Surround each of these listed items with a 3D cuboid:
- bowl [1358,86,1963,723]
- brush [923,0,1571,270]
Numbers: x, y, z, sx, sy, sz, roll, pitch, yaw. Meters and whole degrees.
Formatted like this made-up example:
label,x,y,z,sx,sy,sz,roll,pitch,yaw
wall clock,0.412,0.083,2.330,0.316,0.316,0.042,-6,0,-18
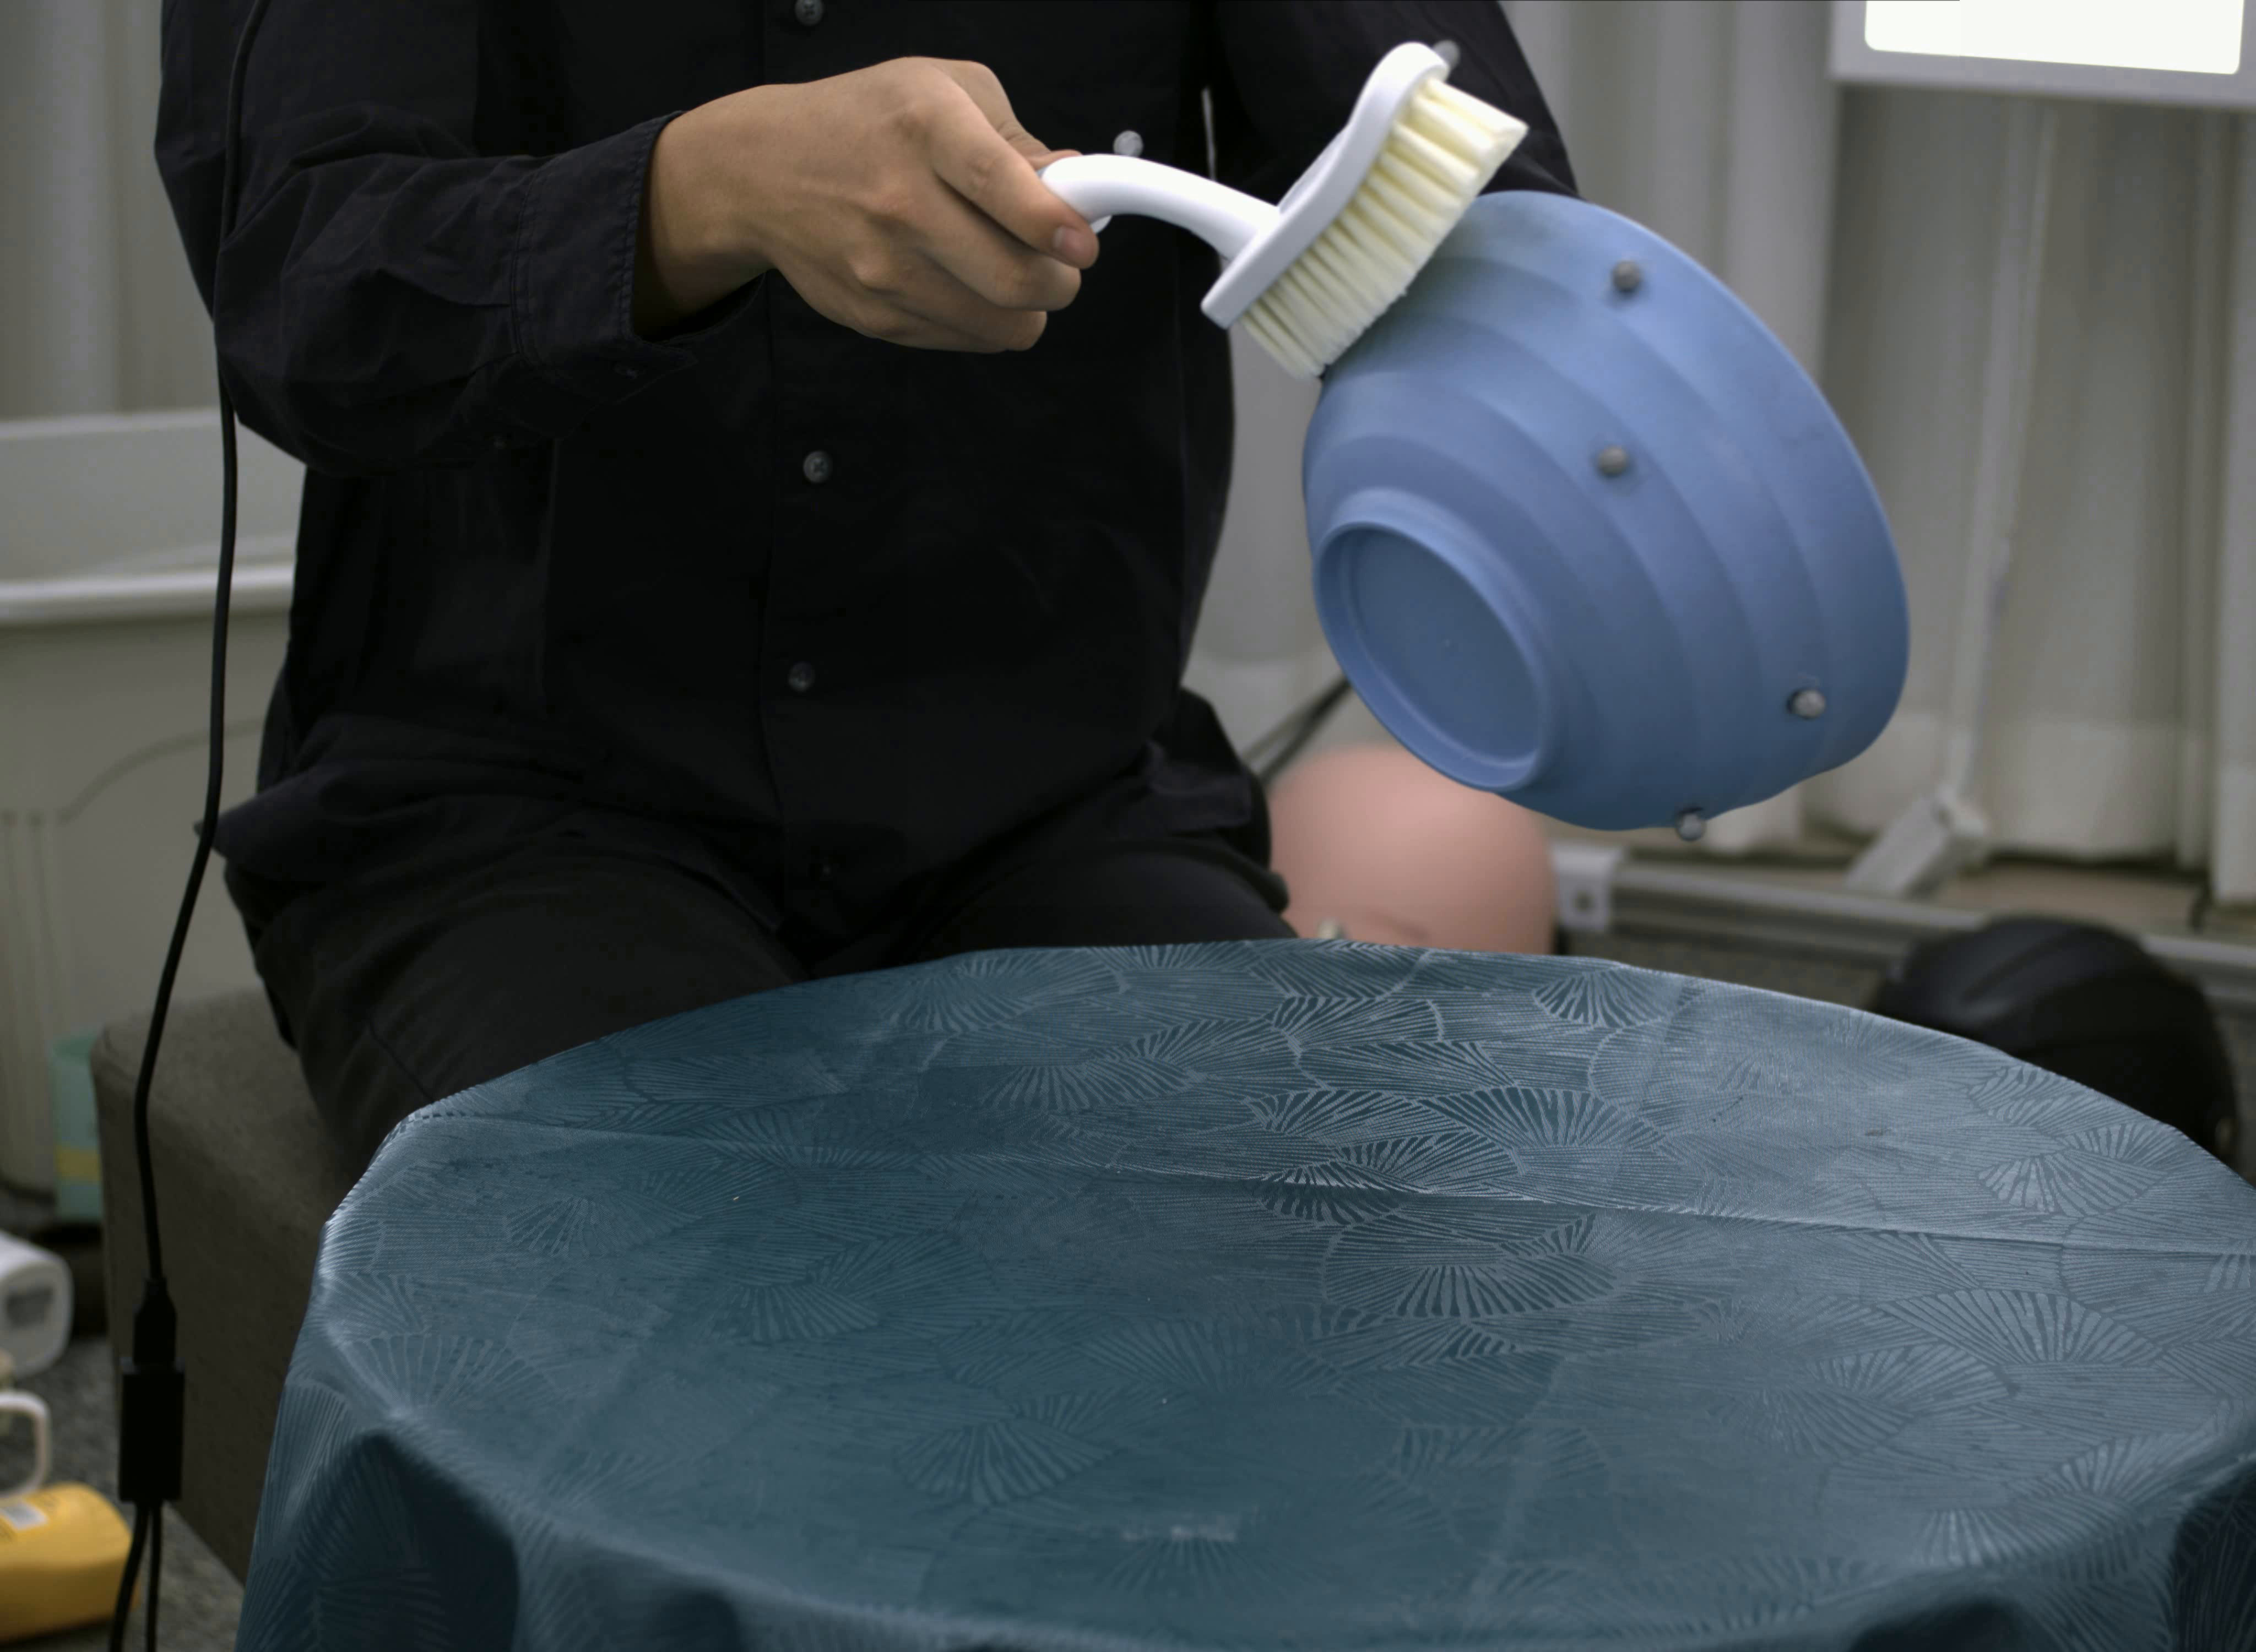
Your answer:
label,x,y,z,sx,sy,sz,roll,pitch,yaw
bowl,0.135,-0.105,1.522,0.095,0.199,0.194,-38,35,-27
brush,0.042,-0.199,1.582,0.083,0.085,0.323,-15,1,-29
